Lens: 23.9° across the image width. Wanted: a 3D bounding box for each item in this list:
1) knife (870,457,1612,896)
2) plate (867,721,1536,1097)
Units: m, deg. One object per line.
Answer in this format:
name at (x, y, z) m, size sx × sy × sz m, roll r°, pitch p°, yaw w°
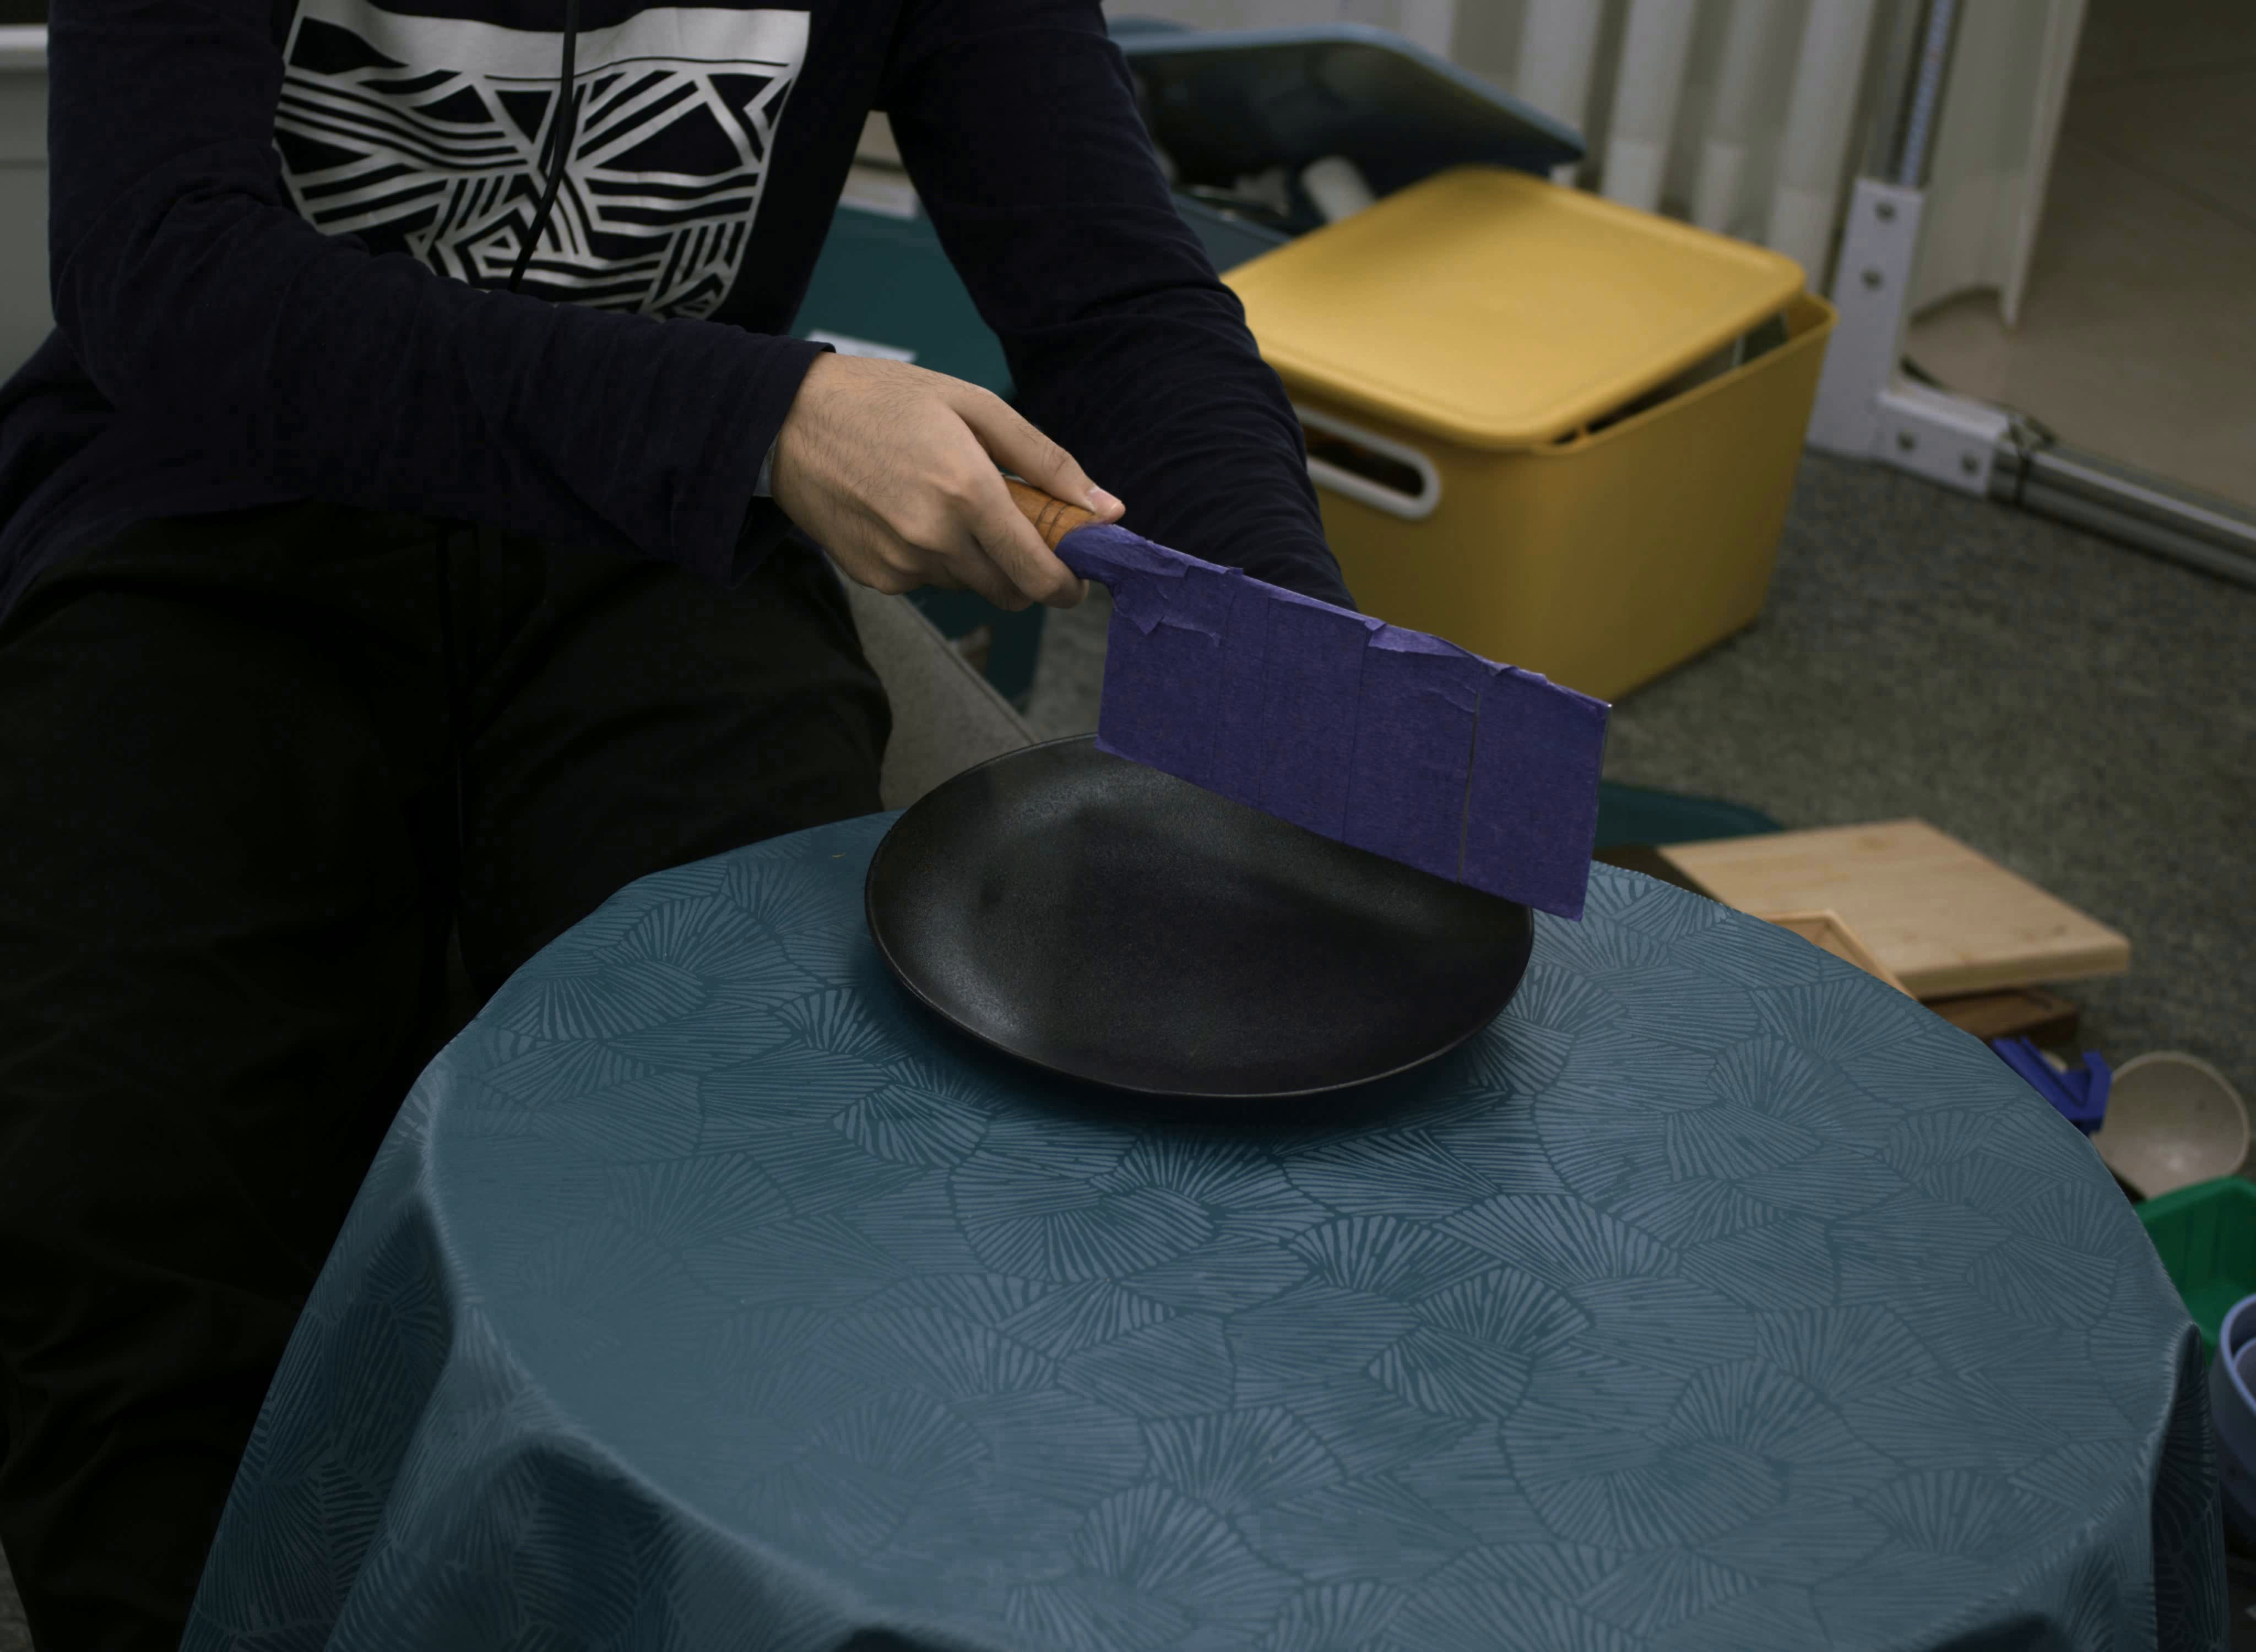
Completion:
knife at (0.036, -0.052, 1.964) m, size 0.317 × 0.103 × 0.032 m, roll 21°, pitch 29°, yaw 29°
plate at (0.026, 0.033, 1.938) m, size 0.244 × 0.023 × 0.246 m, roll 0°, pitch 33°, yaw 0°
